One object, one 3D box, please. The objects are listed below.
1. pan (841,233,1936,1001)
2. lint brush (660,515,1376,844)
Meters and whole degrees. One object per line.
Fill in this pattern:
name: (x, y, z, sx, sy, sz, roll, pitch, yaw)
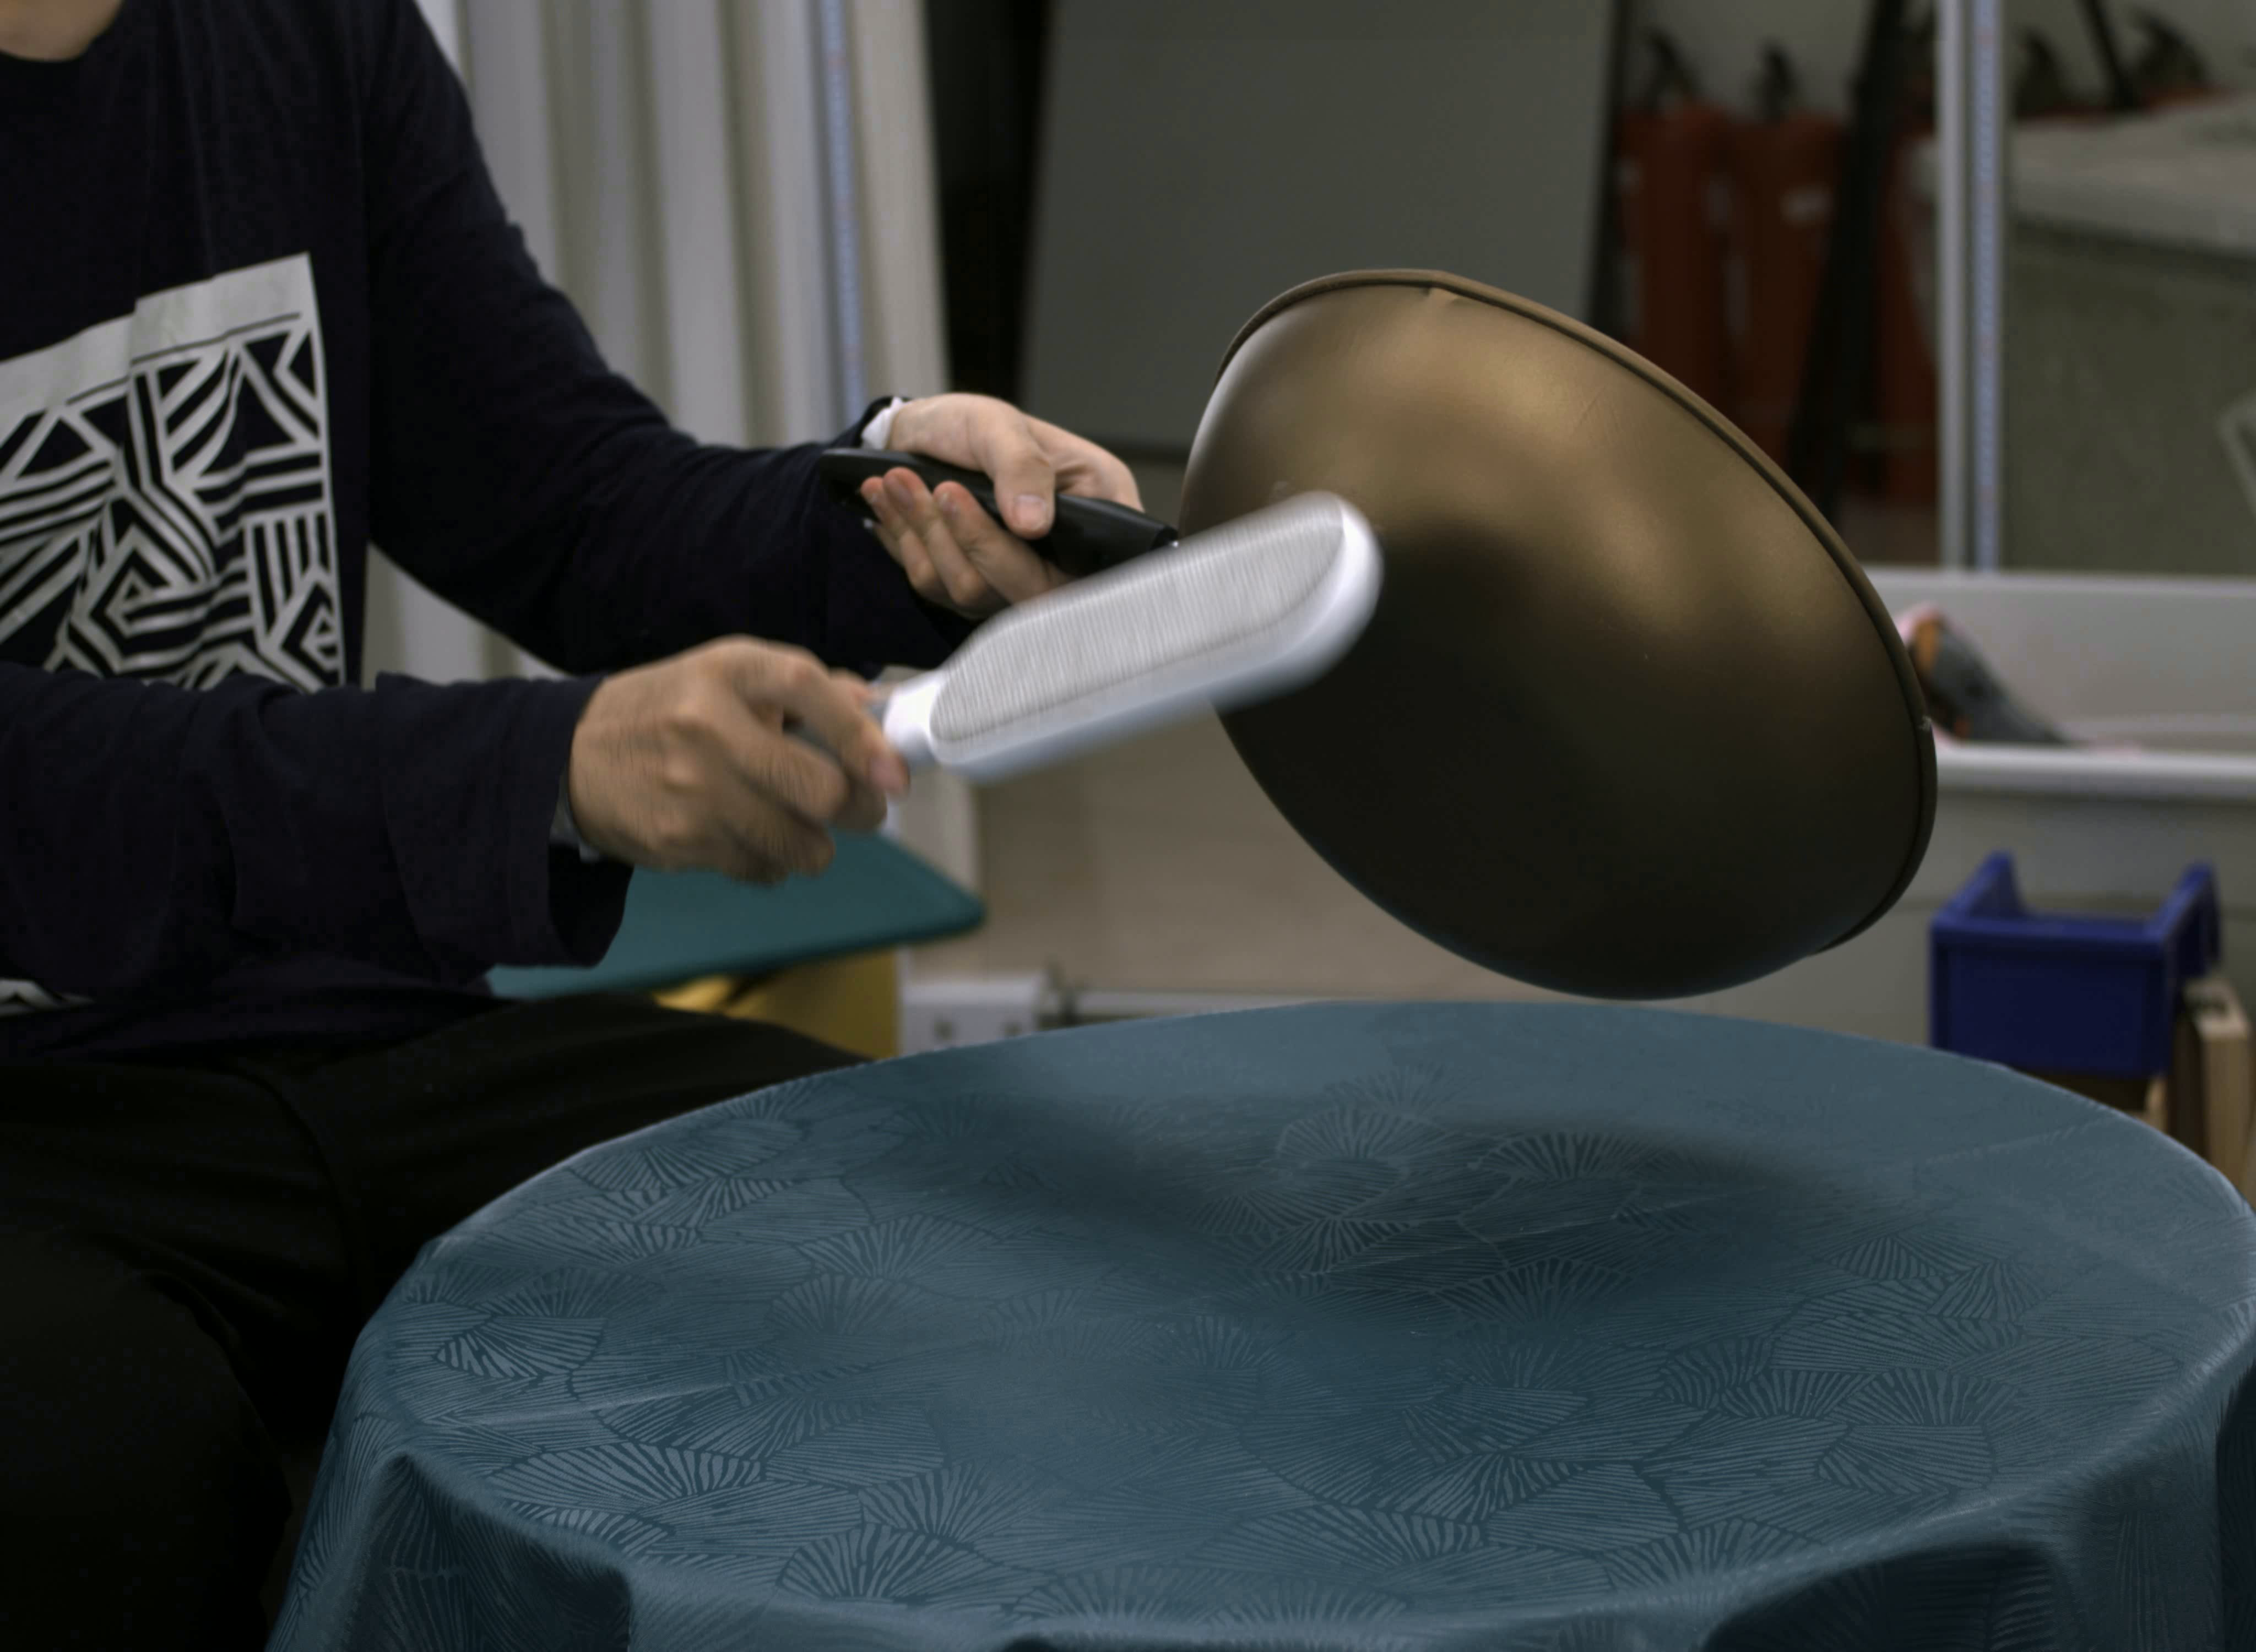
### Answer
pan: (0.048, -0.061, 1.757, 0.467, 0.288, 0.086, 14, 47, 42)
lint brush: (-0.040, -0.038, 1.649, 0.311, 0.060, 0.020, -17, -42, 44)
